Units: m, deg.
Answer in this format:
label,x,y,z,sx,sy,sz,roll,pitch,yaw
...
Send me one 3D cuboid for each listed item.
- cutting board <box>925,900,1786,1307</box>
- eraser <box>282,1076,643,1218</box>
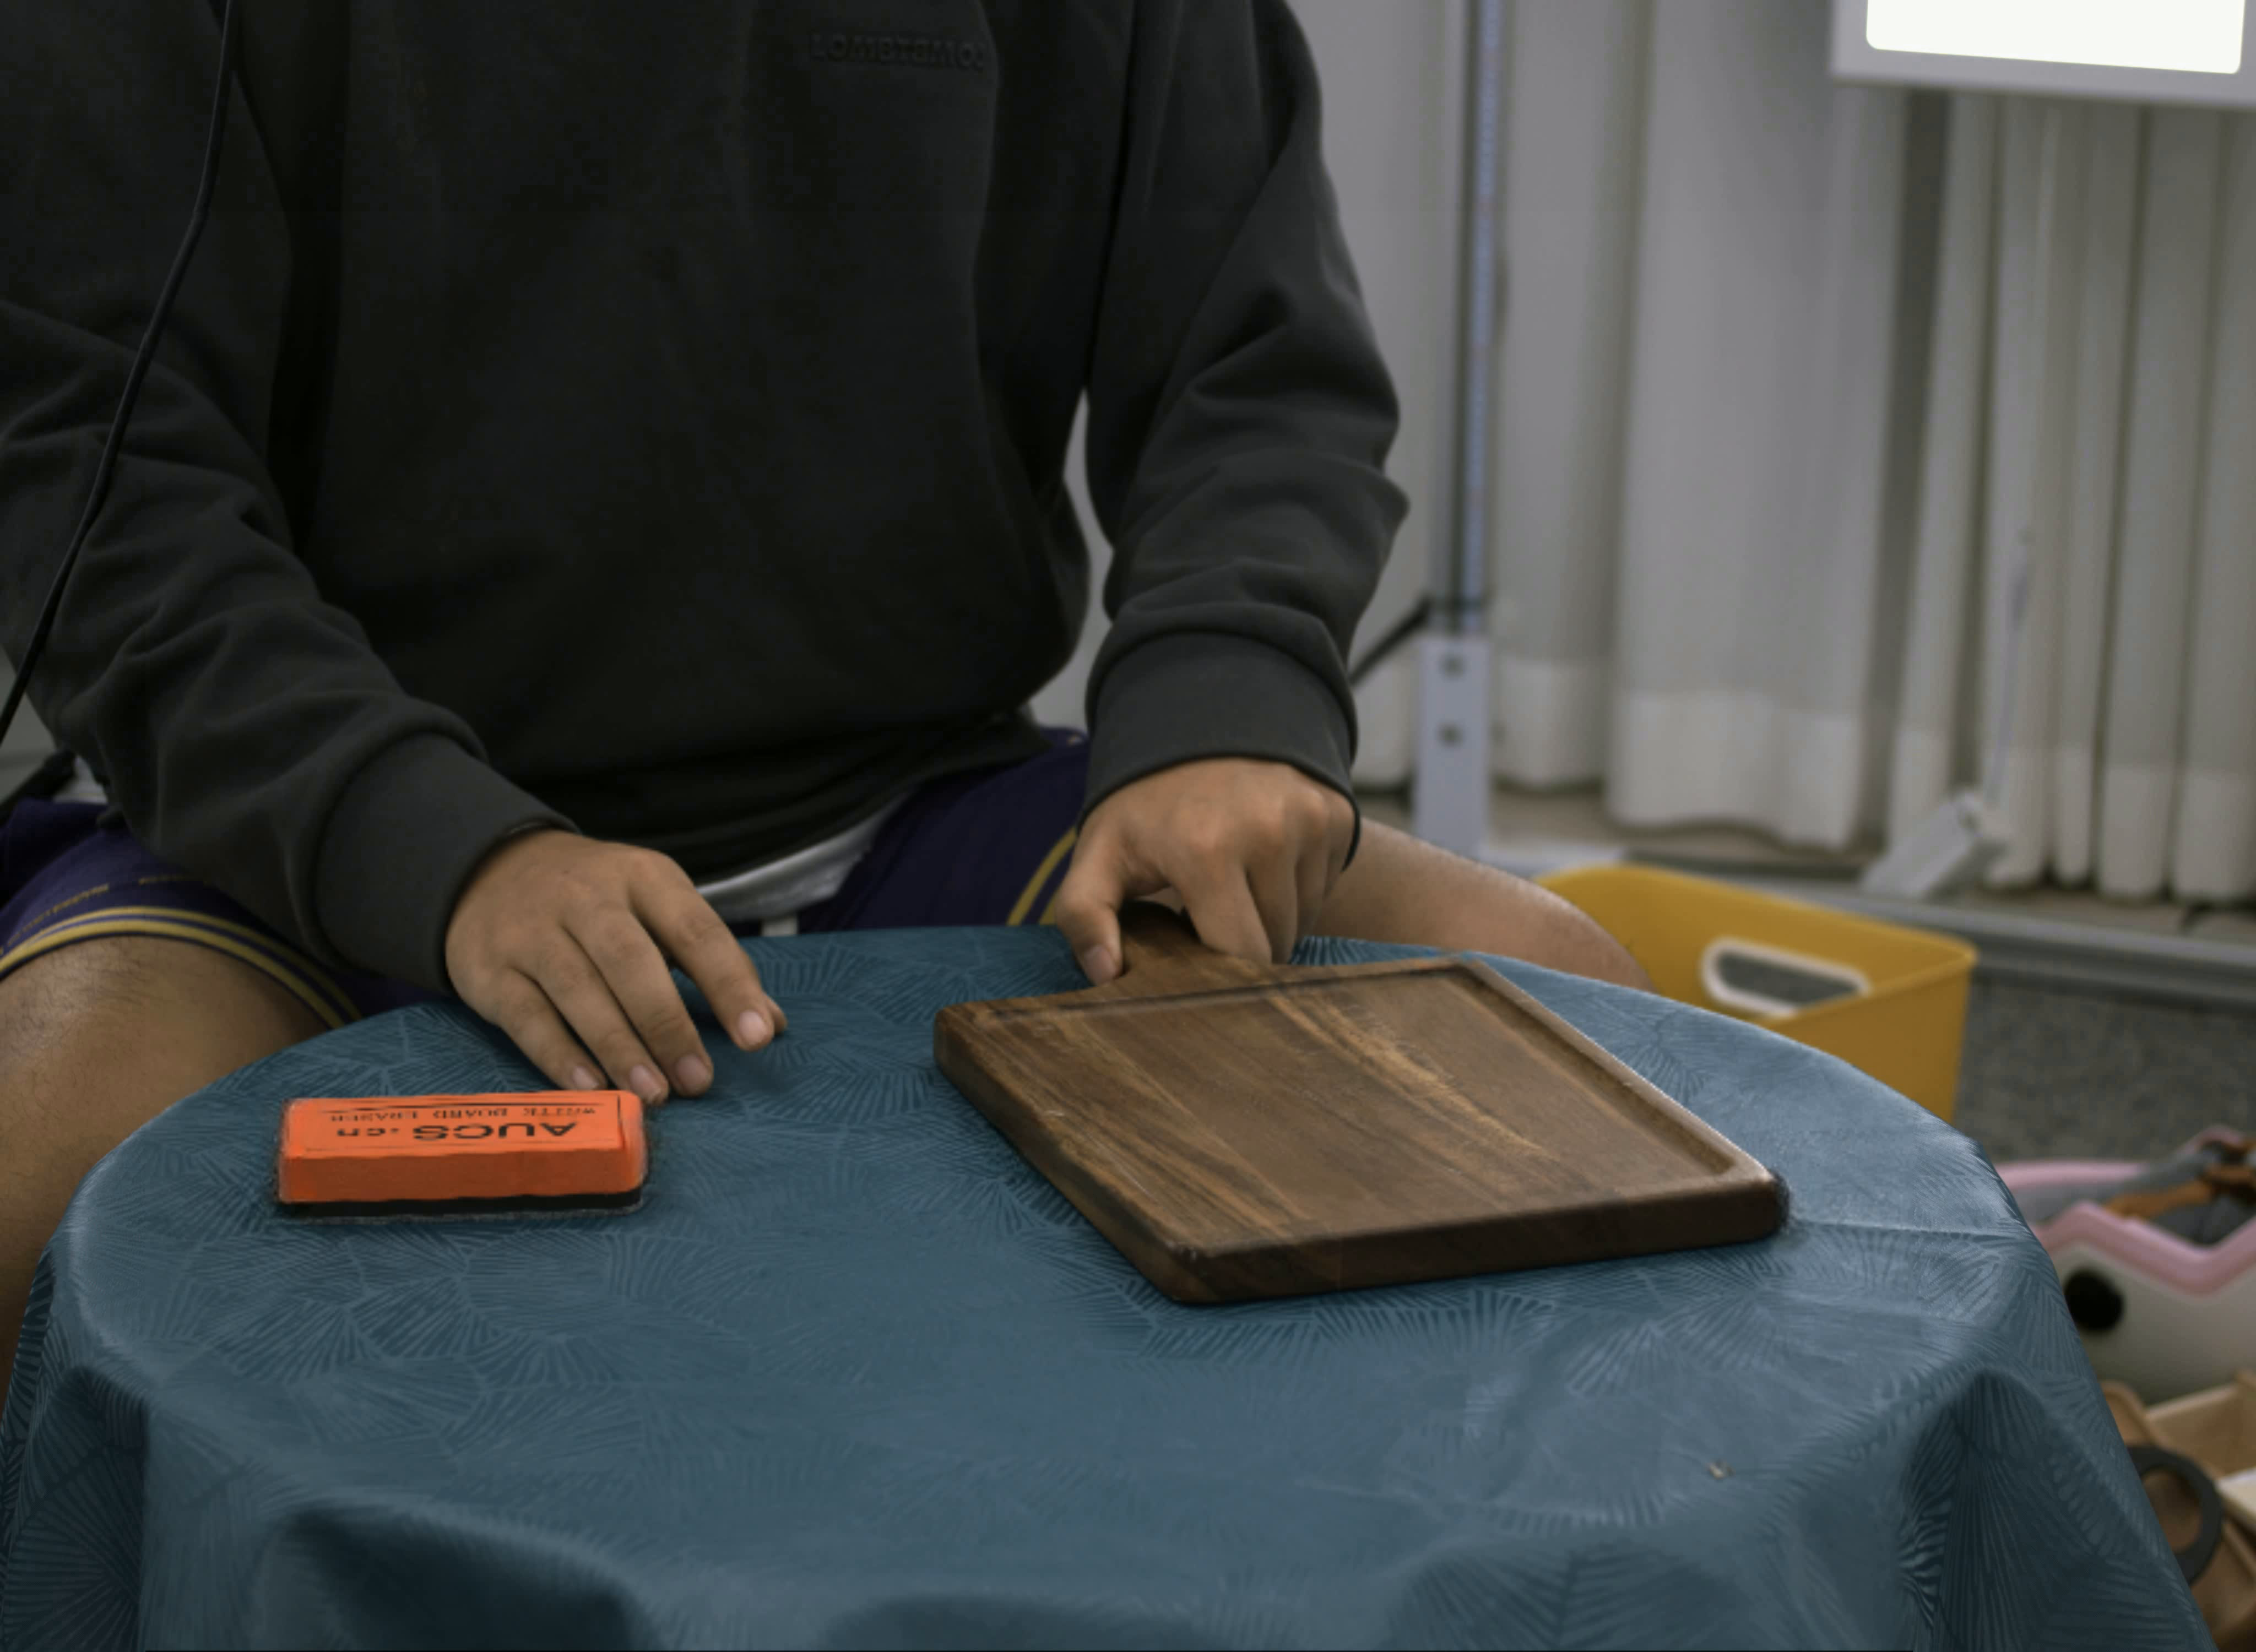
label,x,y,z,sx,sy,sz,roll,pitch,yaw
cutting board,0.049,0.079,1.706,0.201,0.023,0.348,-5,16,-19
eraser,-0.203,0.098,1.611,0.108,0.023,0.058,-3,16,-7
